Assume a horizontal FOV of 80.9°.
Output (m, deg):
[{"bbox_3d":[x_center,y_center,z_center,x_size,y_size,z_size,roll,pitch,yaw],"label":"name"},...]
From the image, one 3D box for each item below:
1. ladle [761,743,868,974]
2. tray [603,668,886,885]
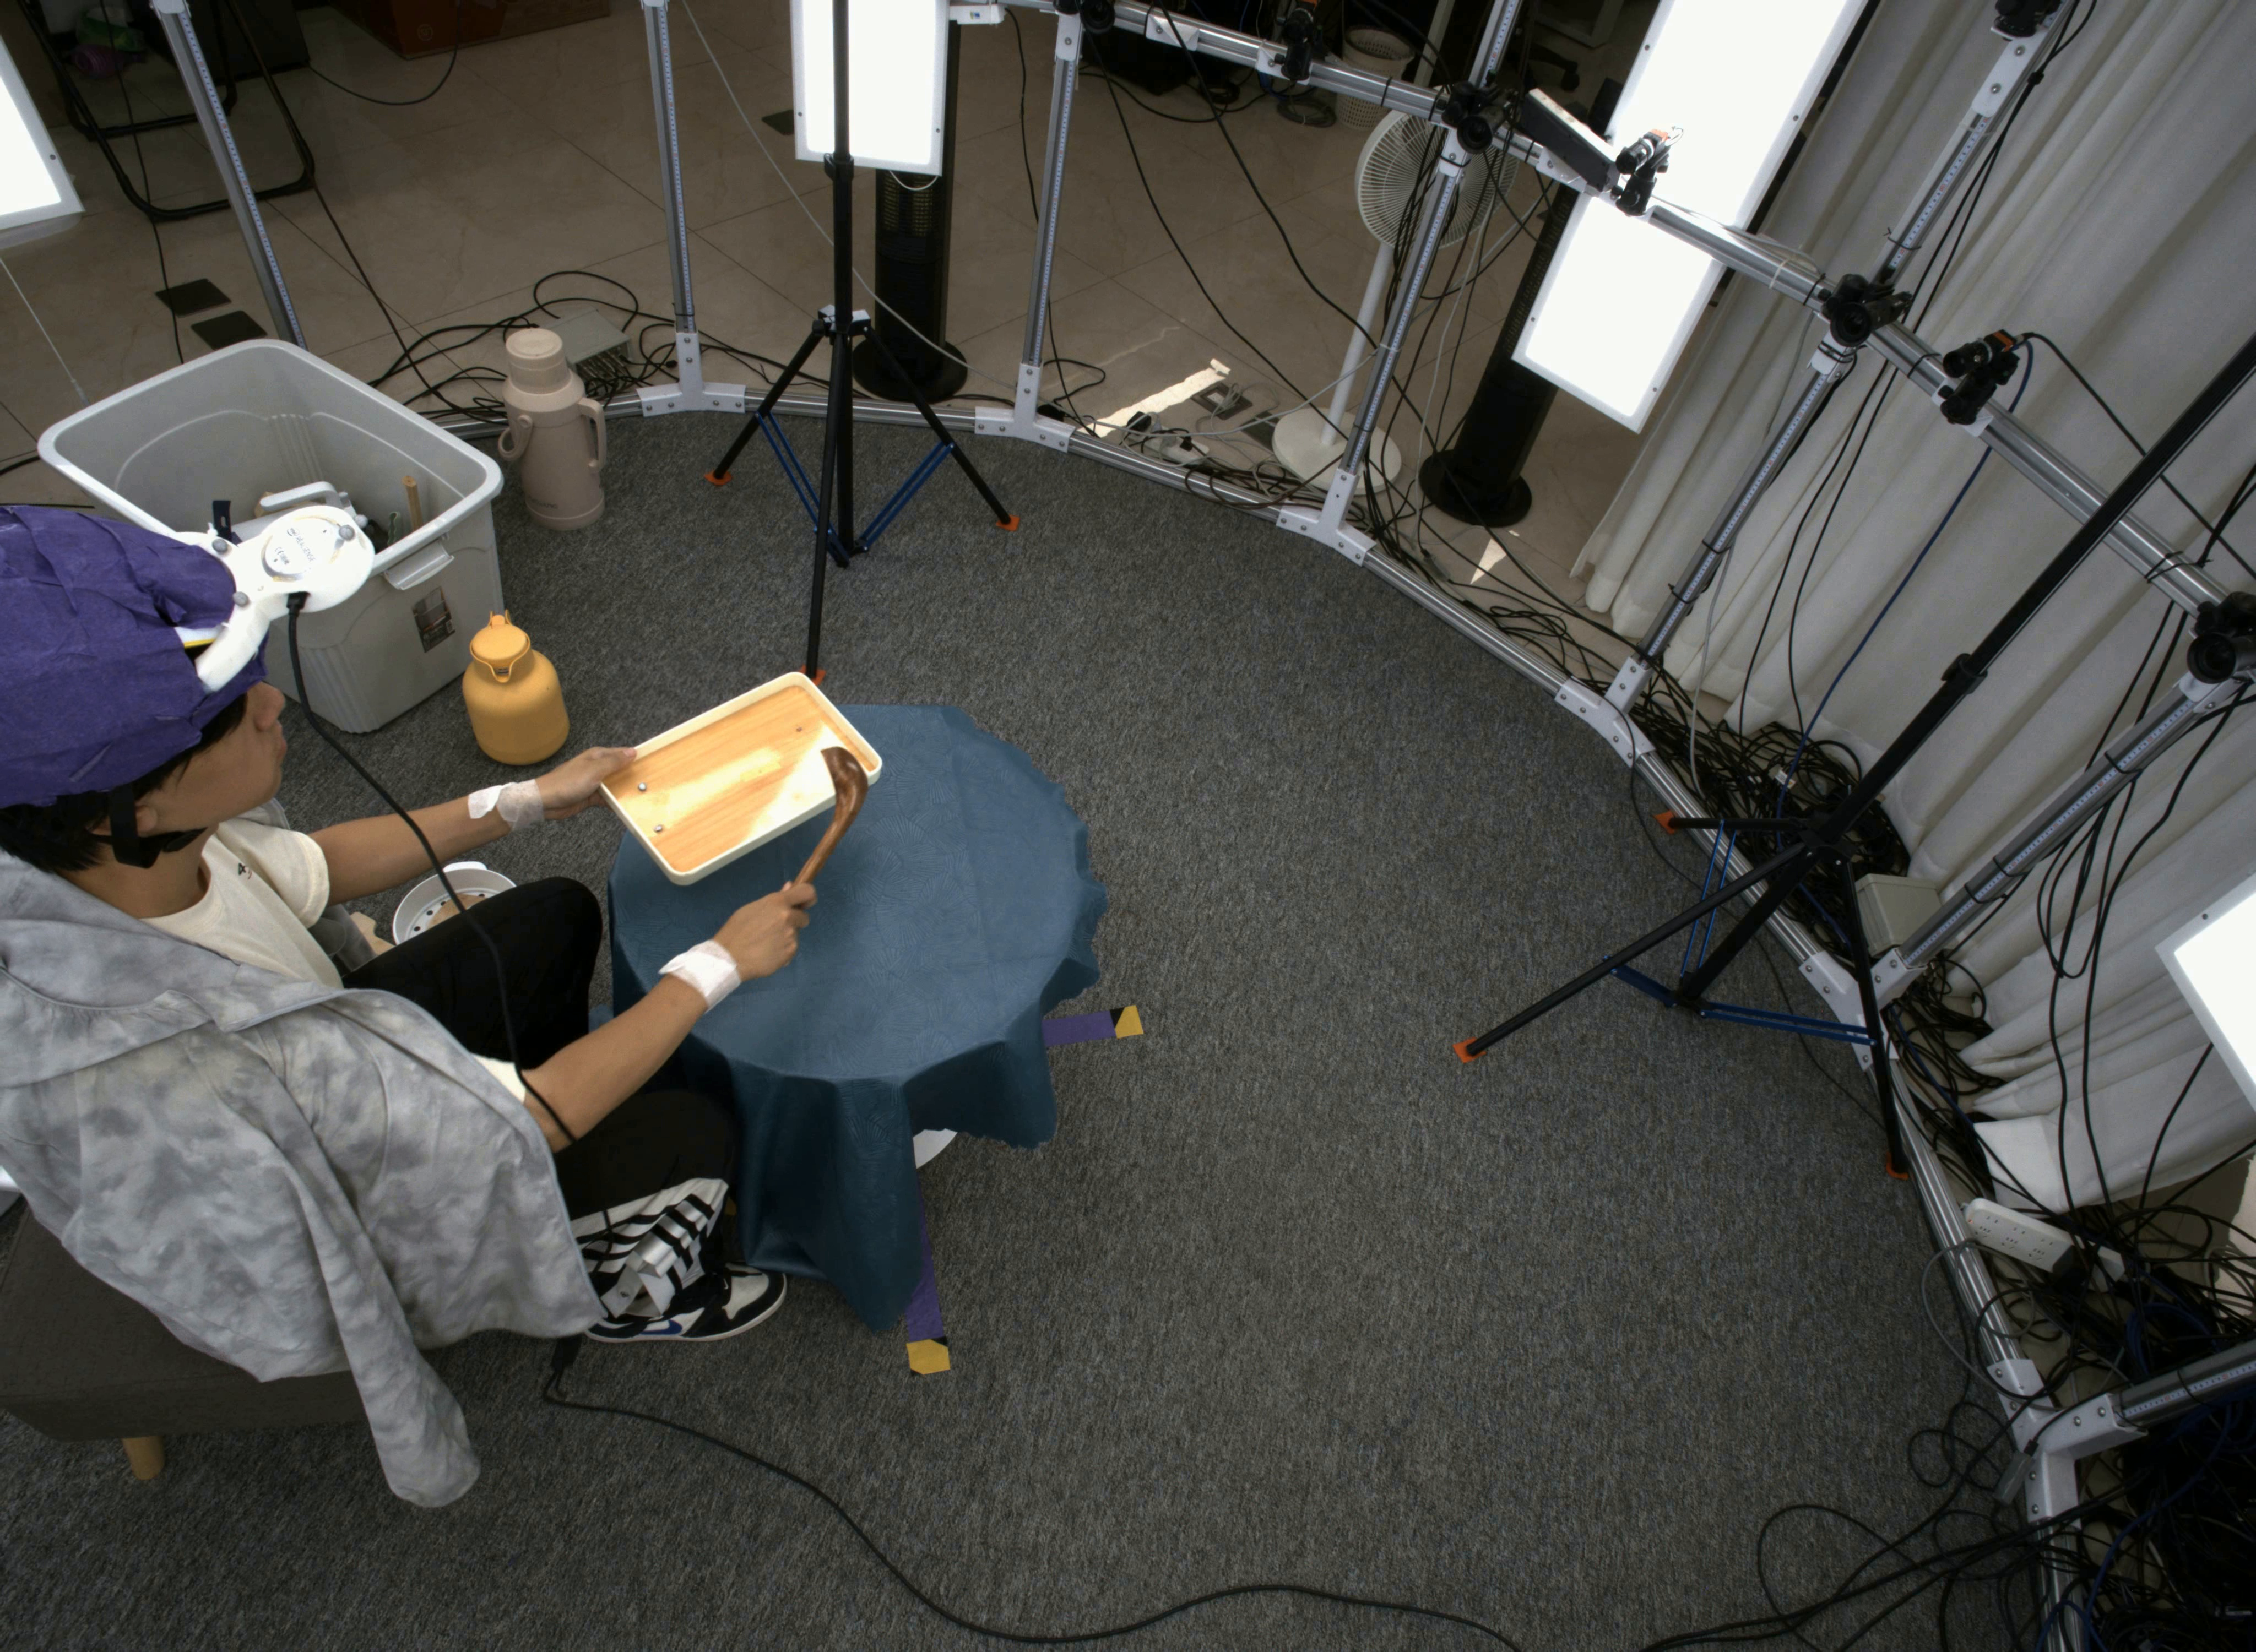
[{"bbox_3d":[-0.375,0.031,1.488,0.074,0.085,0.274,17,72,26],"label":"ladle"},{"bbox_3d":[-0.465,-0.068,1.570,0.301,0.028,0.188,-33,72,-33],"label":"tray"}]
